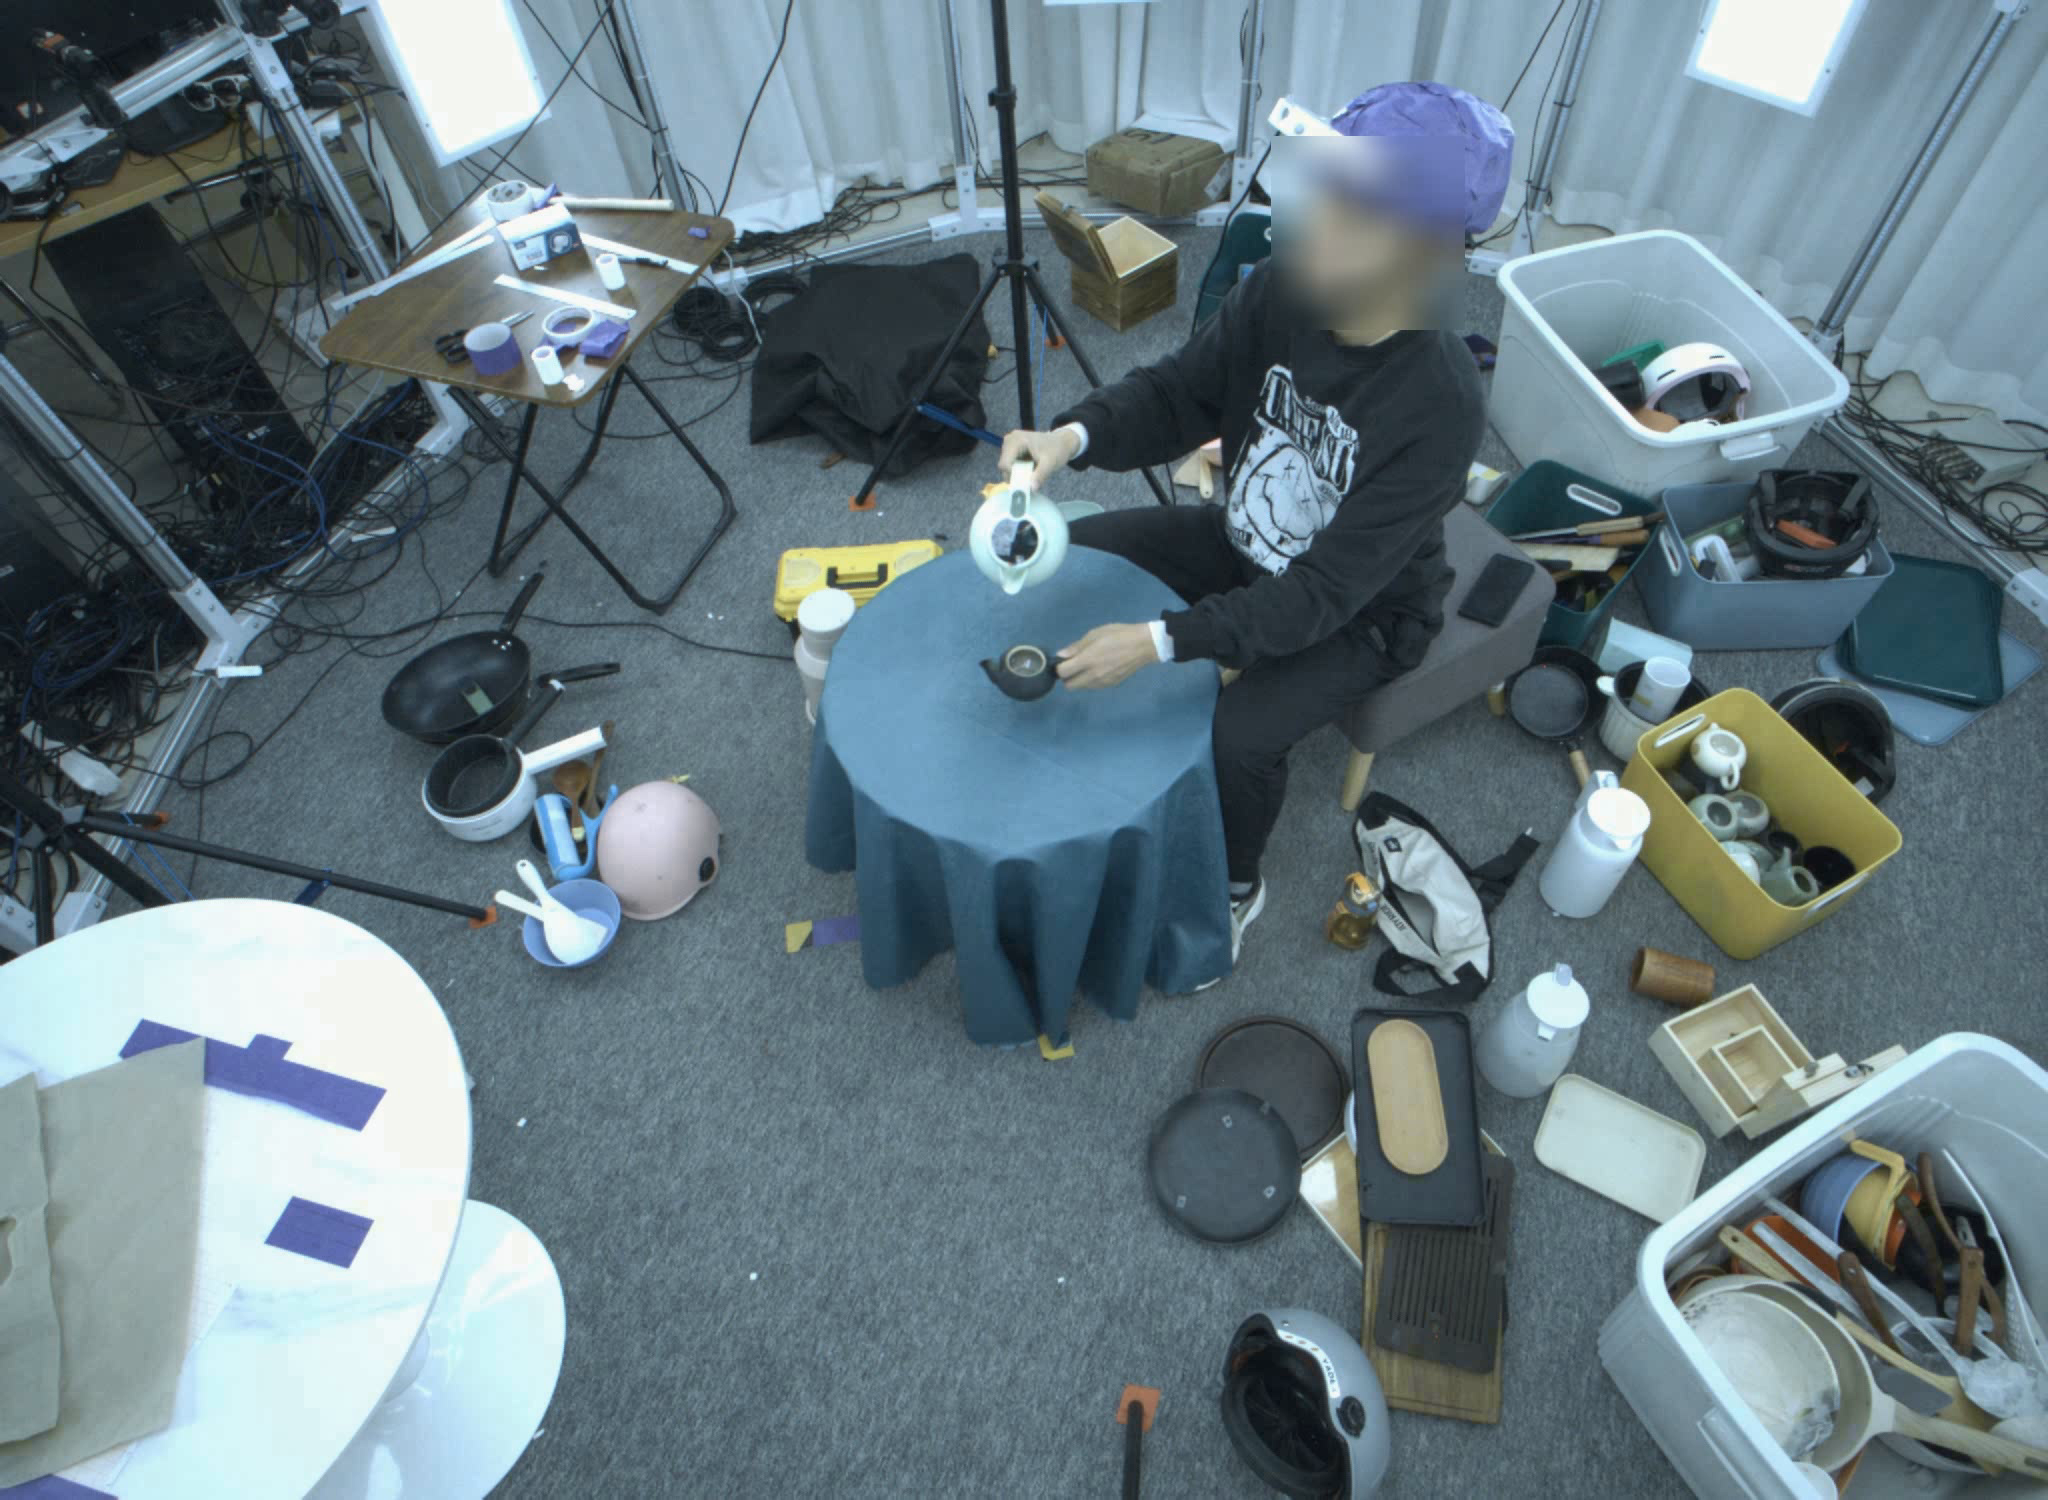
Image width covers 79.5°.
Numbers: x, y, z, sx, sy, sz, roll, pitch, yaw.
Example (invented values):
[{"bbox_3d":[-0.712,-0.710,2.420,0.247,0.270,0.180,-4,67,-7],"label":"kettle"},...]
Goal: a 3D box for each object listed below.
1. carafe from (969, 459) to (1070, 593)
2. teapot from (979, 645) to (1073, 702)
[{"bbox_3d":[-0.008,-0.315,1.744,0.144,0.256,0.187,5,97,2],"label":"carafe"},{"bbox_3d":[0.003,-0.111,1.754,0.134,0.053,0.090,-4,58,-5],"label":"teapot"}]
